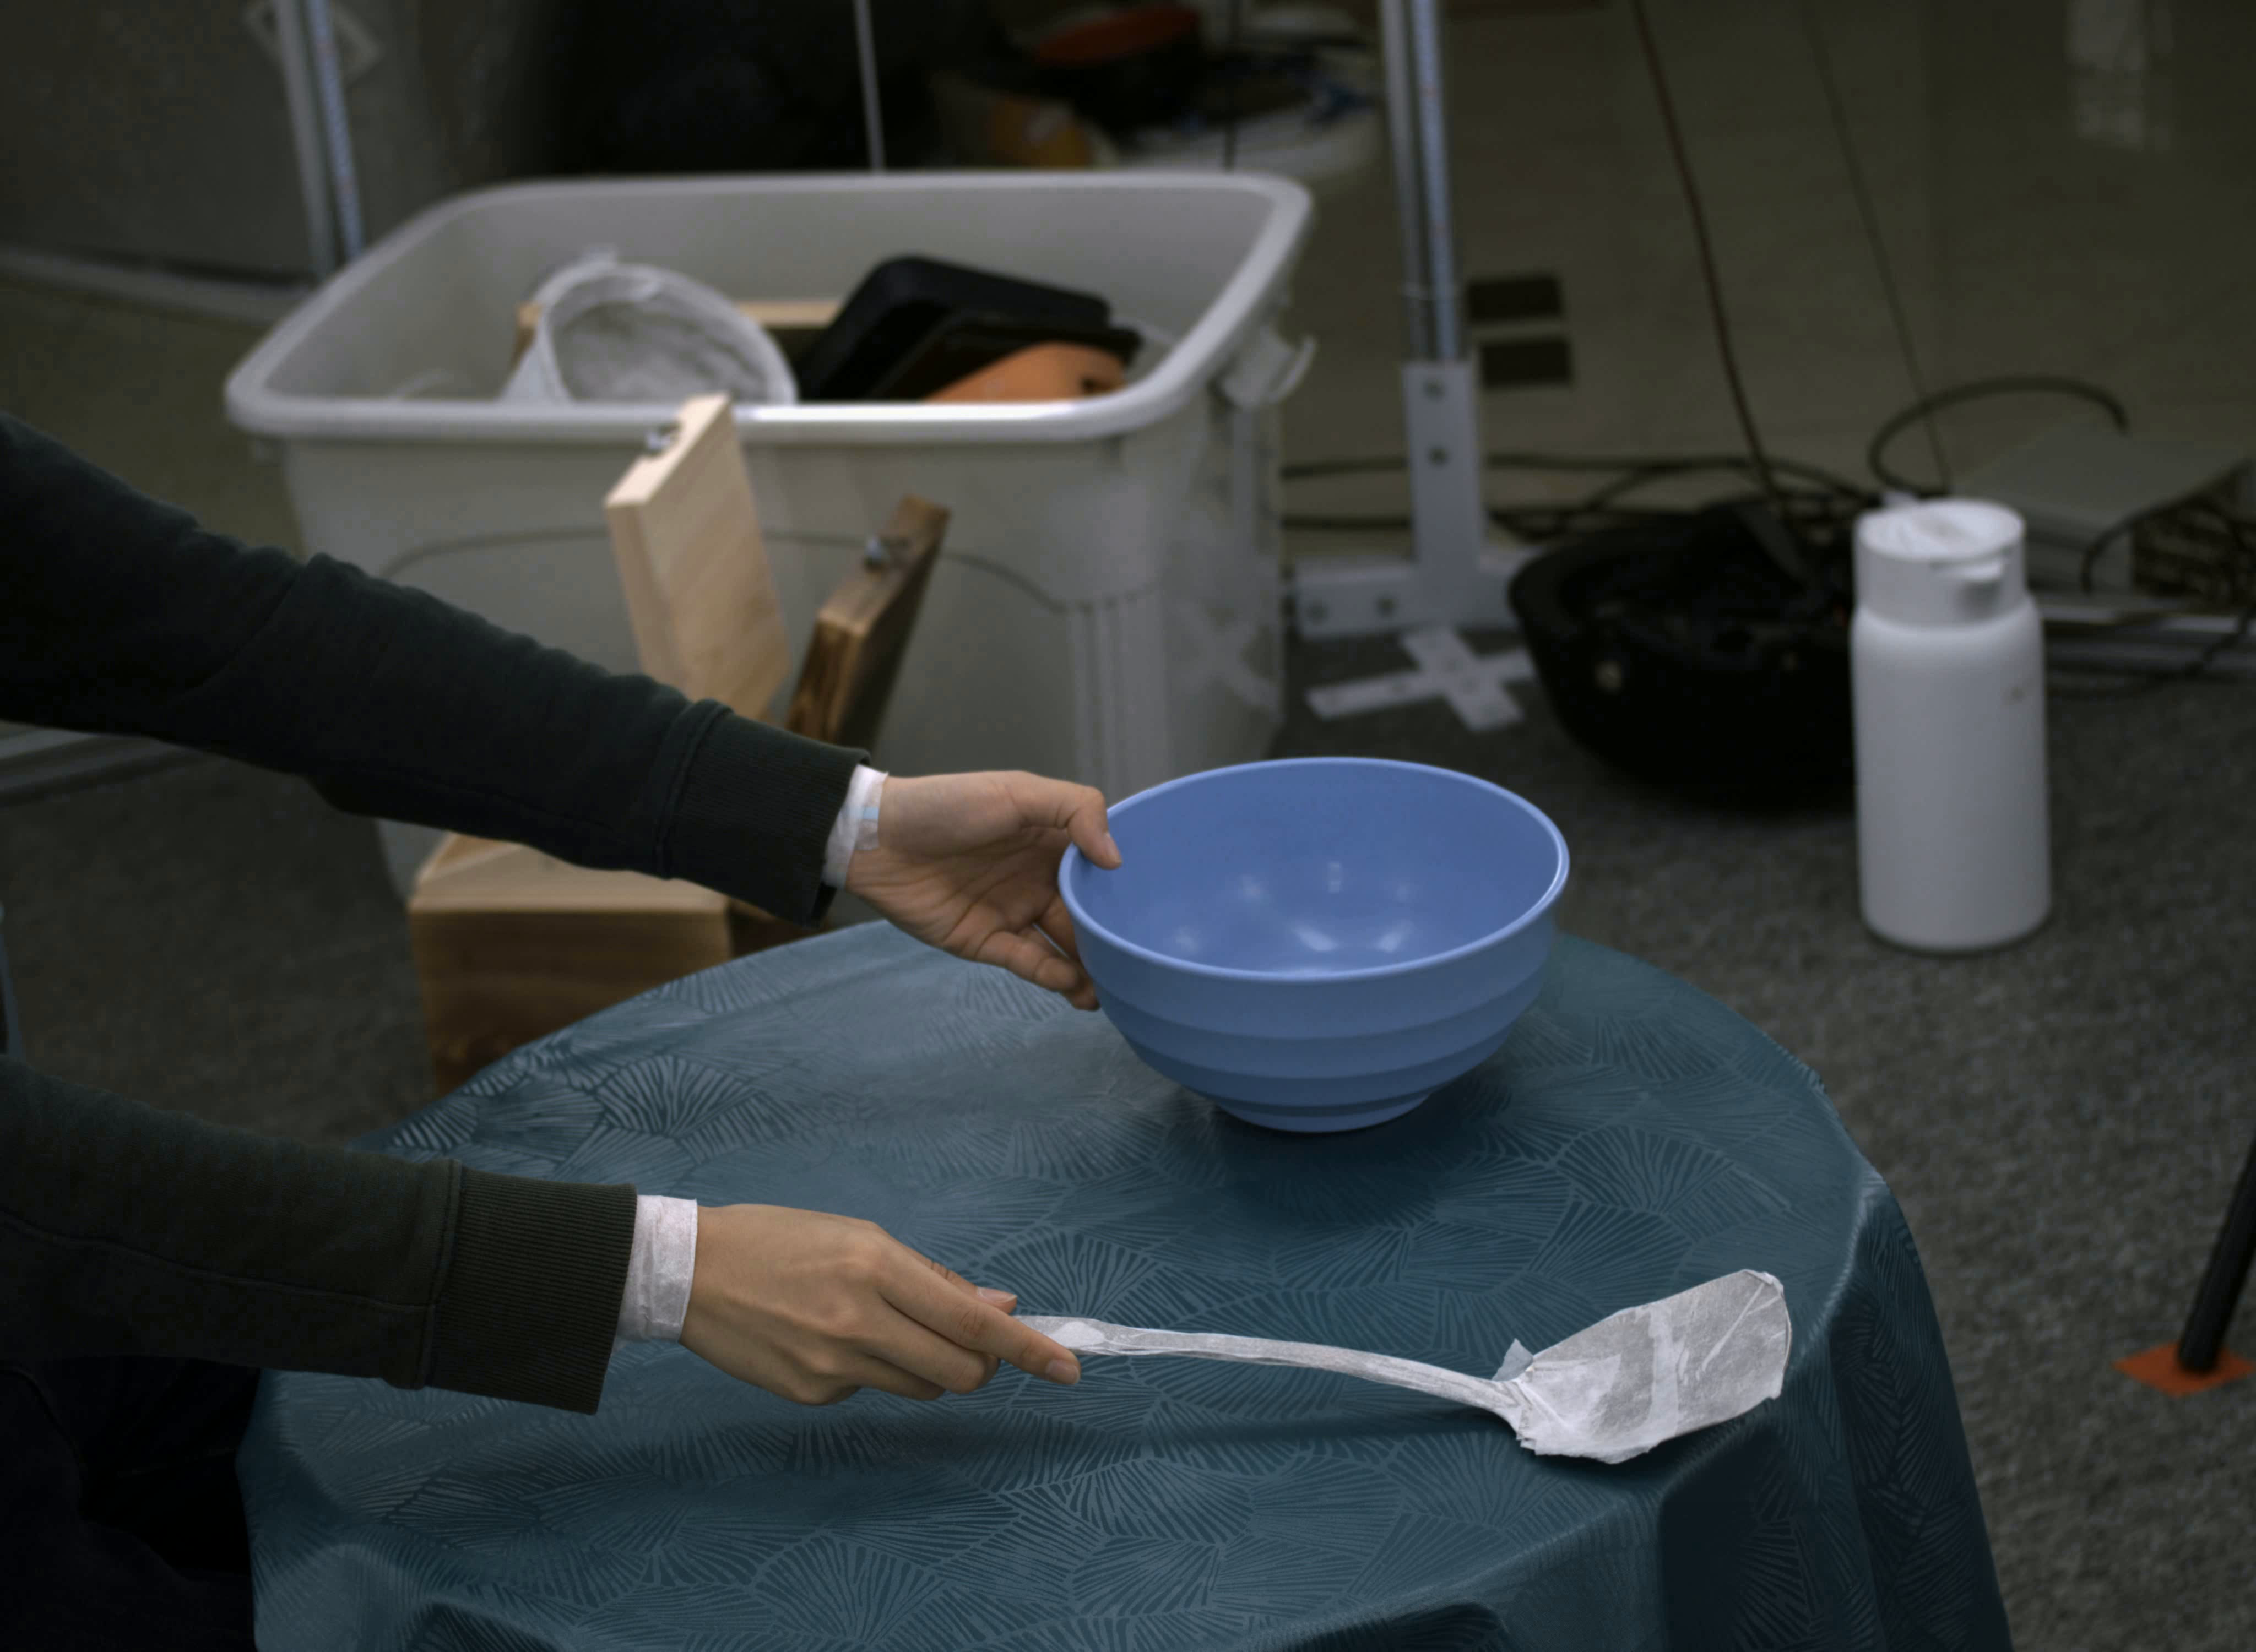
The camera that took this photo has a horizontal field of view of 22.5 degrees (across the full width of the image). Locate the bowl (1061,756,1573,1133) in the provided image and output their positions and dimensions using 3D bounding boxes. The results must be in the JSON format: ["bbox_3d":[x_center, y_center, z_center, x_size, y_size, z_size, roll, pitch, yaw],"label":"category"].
[{"bbox_3d":[0.073,0.056,2.193,0.196,0.097,0.193,-1,26,1],"label":"bowl"}]

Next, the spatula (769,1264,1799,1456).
[{"bbox_3d":[0.049,0.179,1.981,0.364,0.045,0.097,5,30,7],"label":"spatula"}]
